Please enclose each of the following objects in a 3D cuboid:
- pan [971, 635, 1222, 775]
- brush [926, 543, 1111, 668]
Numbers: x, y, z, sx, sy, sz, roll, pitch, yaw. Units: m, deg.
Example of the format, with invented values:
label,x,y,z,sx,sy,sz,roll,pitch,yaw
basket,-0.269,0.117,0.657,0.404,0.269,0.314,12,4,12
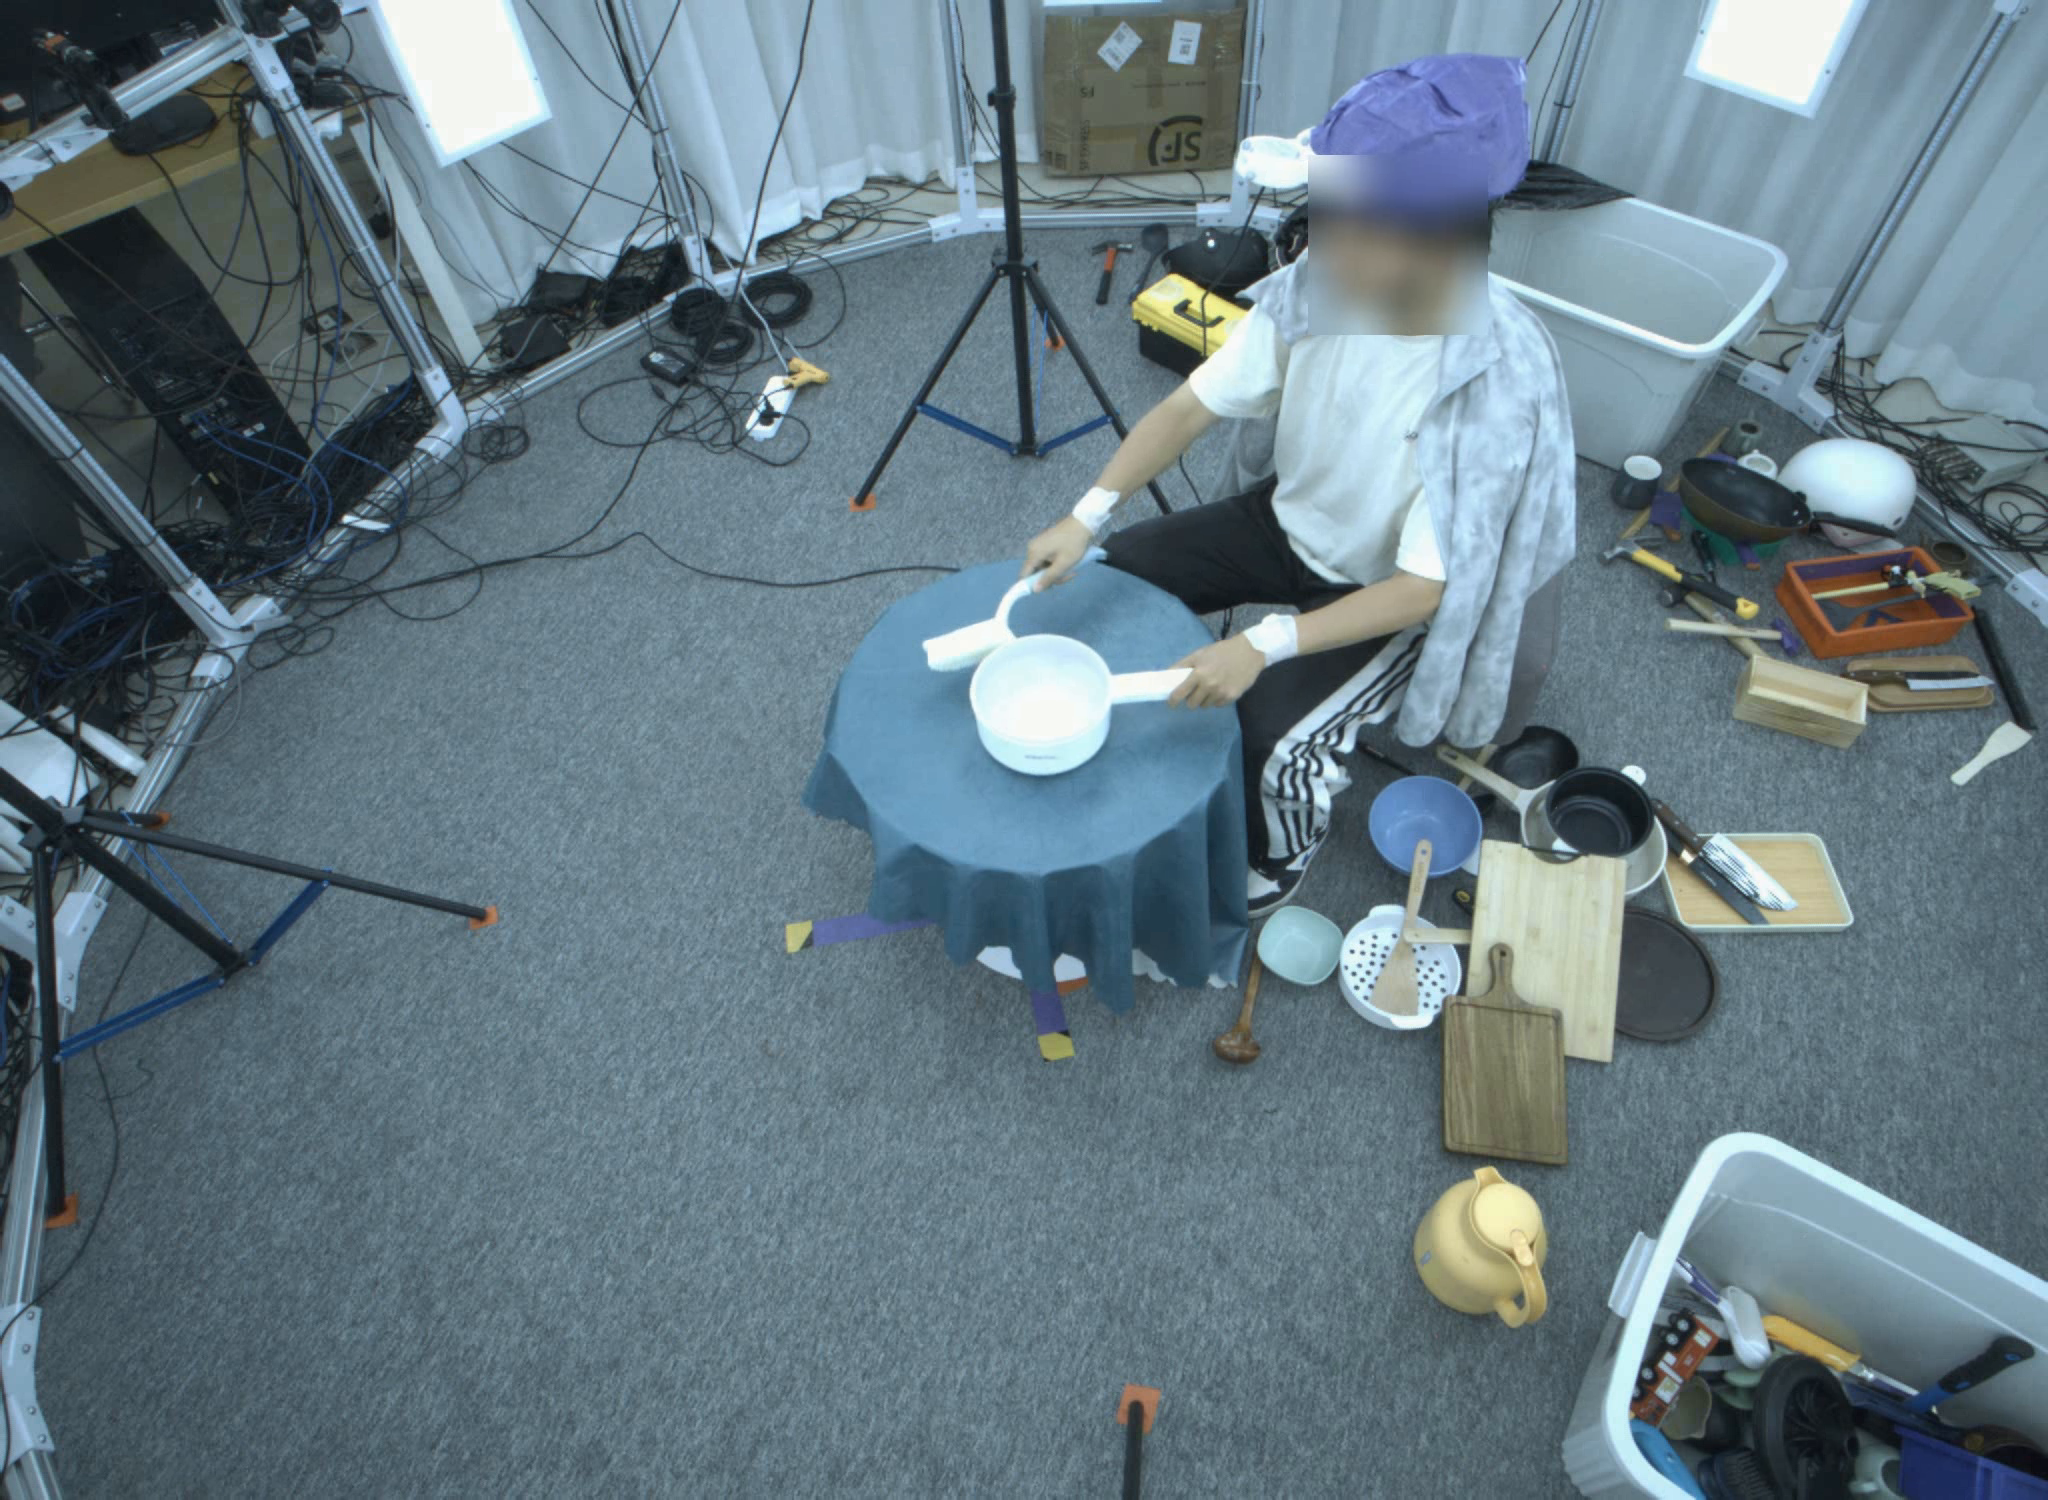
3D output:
label,x,y,z,sx,sy,sz,roll,pitch,yaw
pan,0.104,-0.066,1.772,0.355,0.103,0.199,-5,54,-2
brush,0.008,-0.205,1.832,0.327,0.086,0.081,-30,25,-13
